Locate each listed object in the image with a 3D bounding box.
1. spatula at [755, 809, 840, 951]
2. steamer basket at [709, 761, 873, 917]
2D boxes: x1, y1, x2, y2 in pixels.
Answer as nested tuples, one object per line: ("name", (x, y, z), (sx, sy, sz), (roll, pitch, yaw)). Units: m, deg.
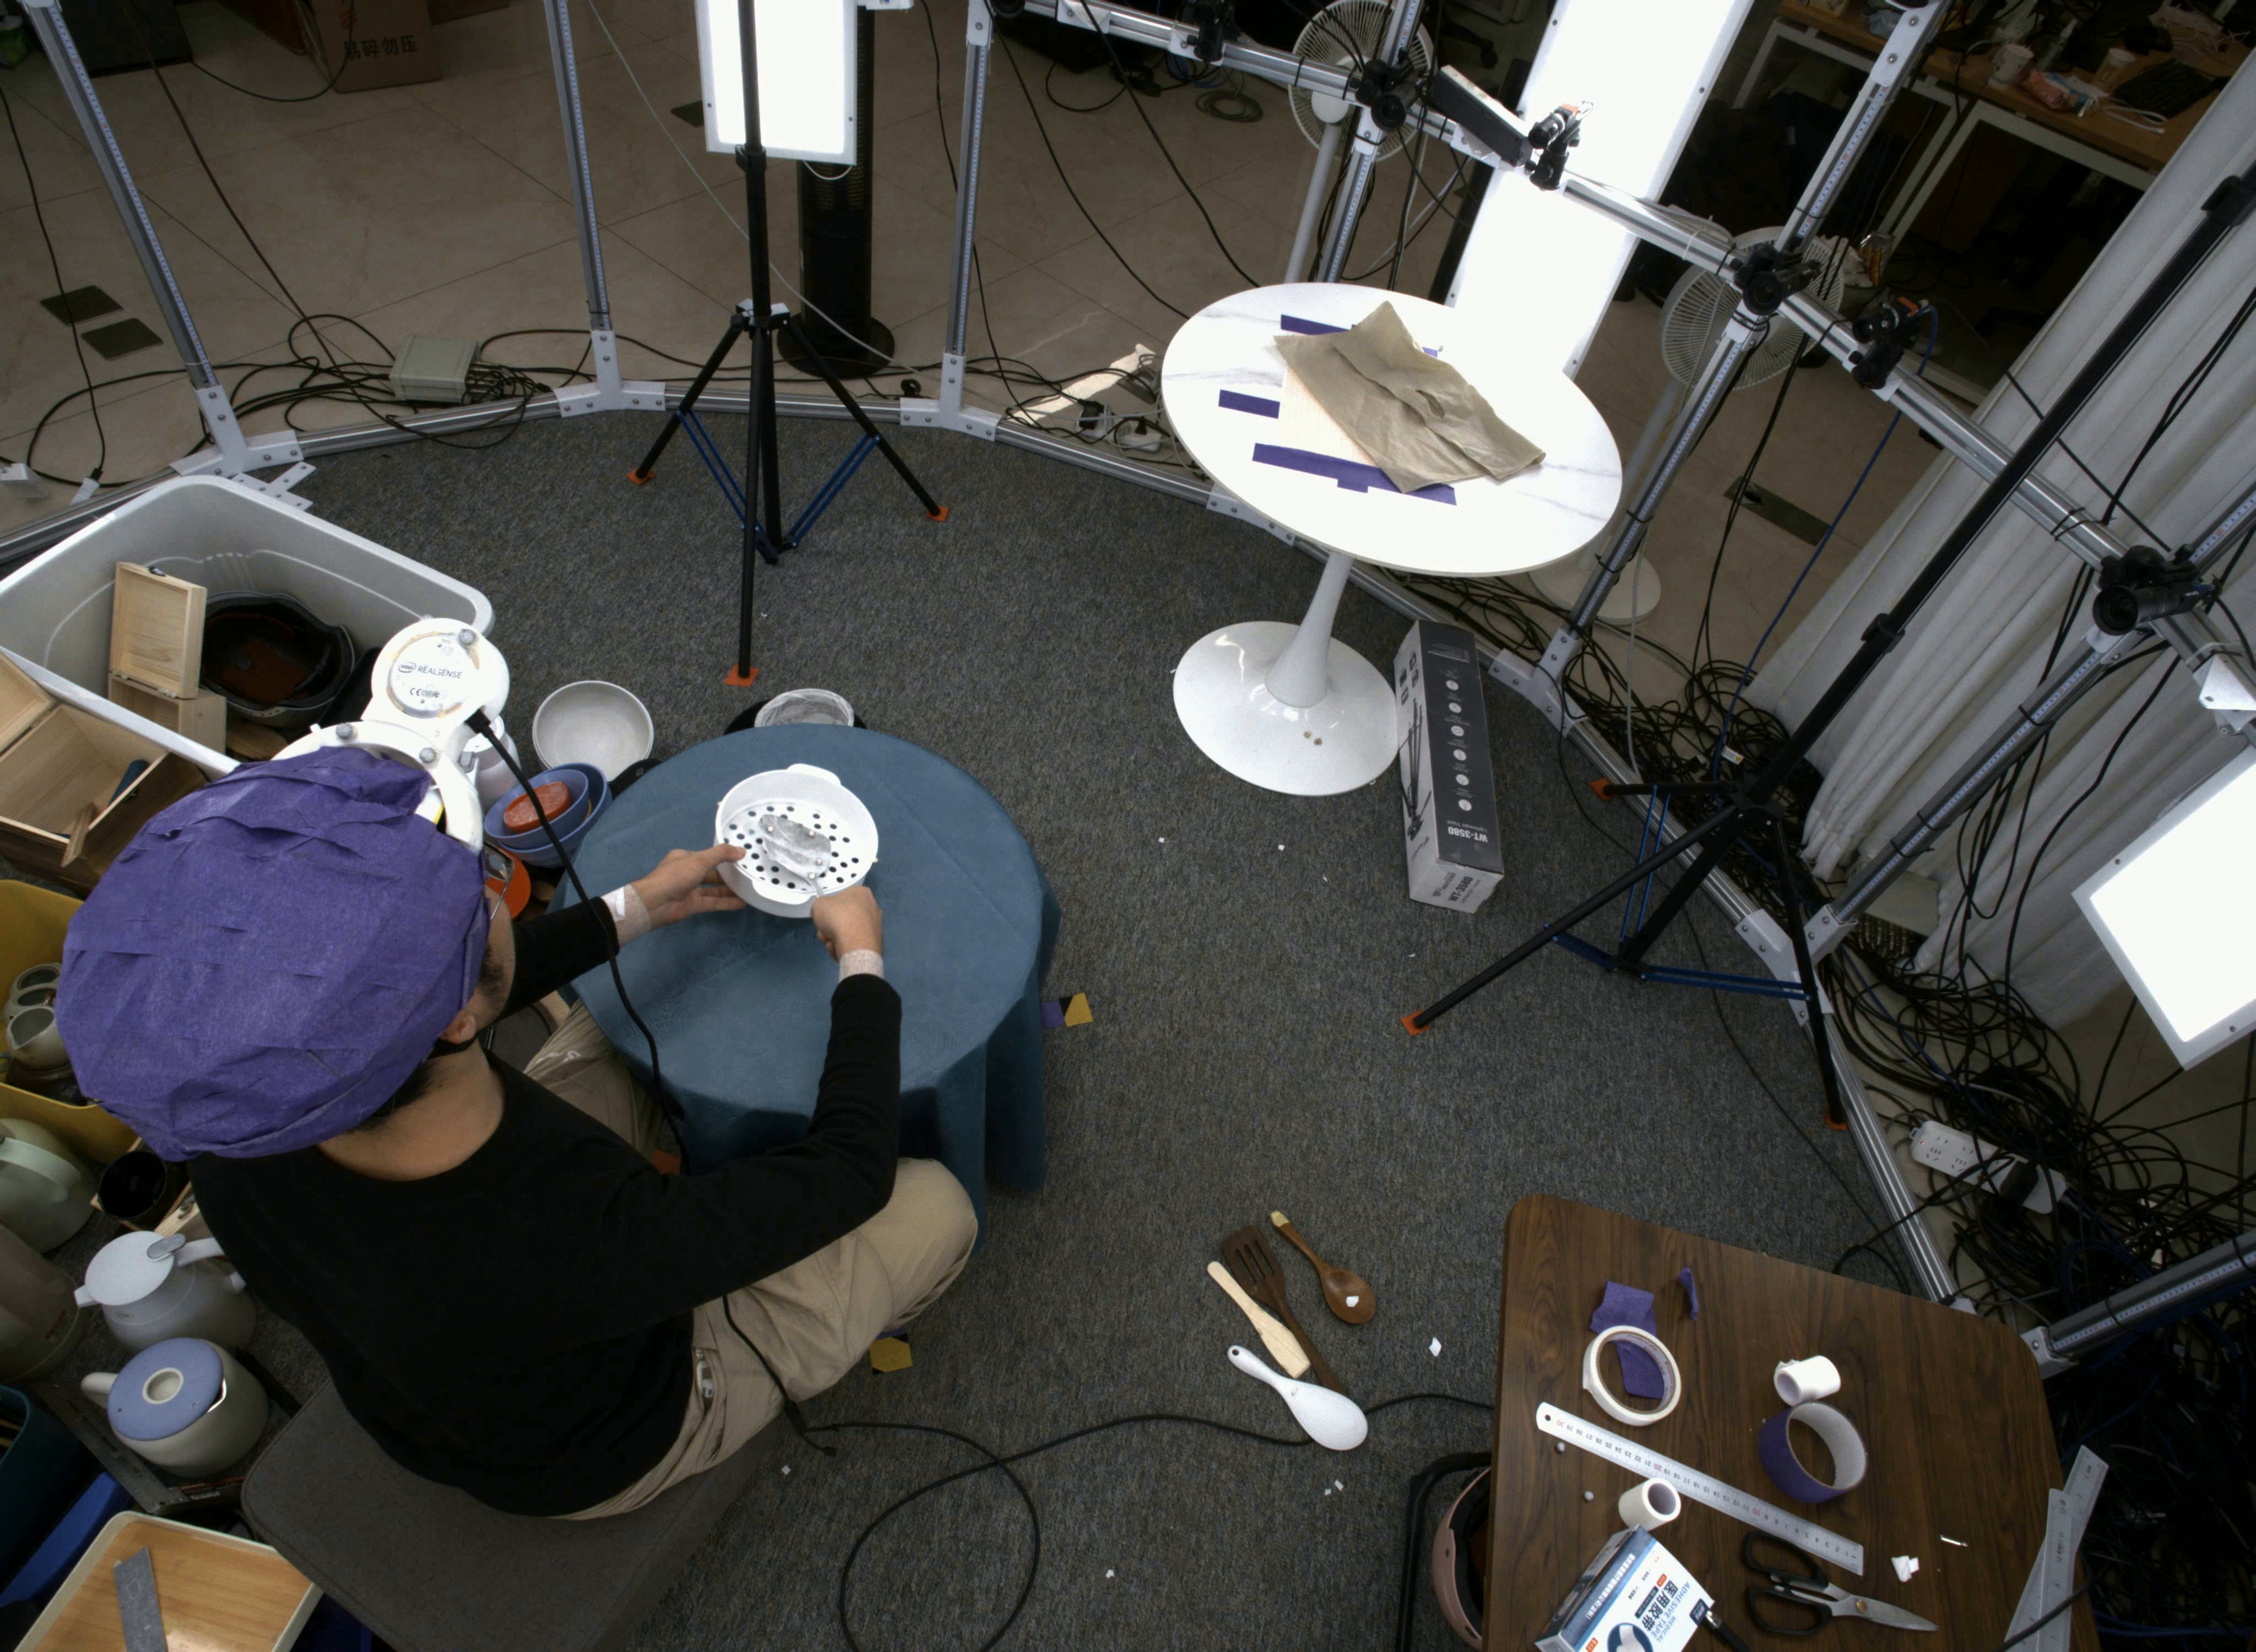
("spatula", (-0.374, 0.062, 1.522), (0.101, 0.045, 0.352), (29, 4, -30))
("steamer basket", (-0.426, 0.020, 1.629), (0.203, 0.070, 0.226), (16, 45, -15))
